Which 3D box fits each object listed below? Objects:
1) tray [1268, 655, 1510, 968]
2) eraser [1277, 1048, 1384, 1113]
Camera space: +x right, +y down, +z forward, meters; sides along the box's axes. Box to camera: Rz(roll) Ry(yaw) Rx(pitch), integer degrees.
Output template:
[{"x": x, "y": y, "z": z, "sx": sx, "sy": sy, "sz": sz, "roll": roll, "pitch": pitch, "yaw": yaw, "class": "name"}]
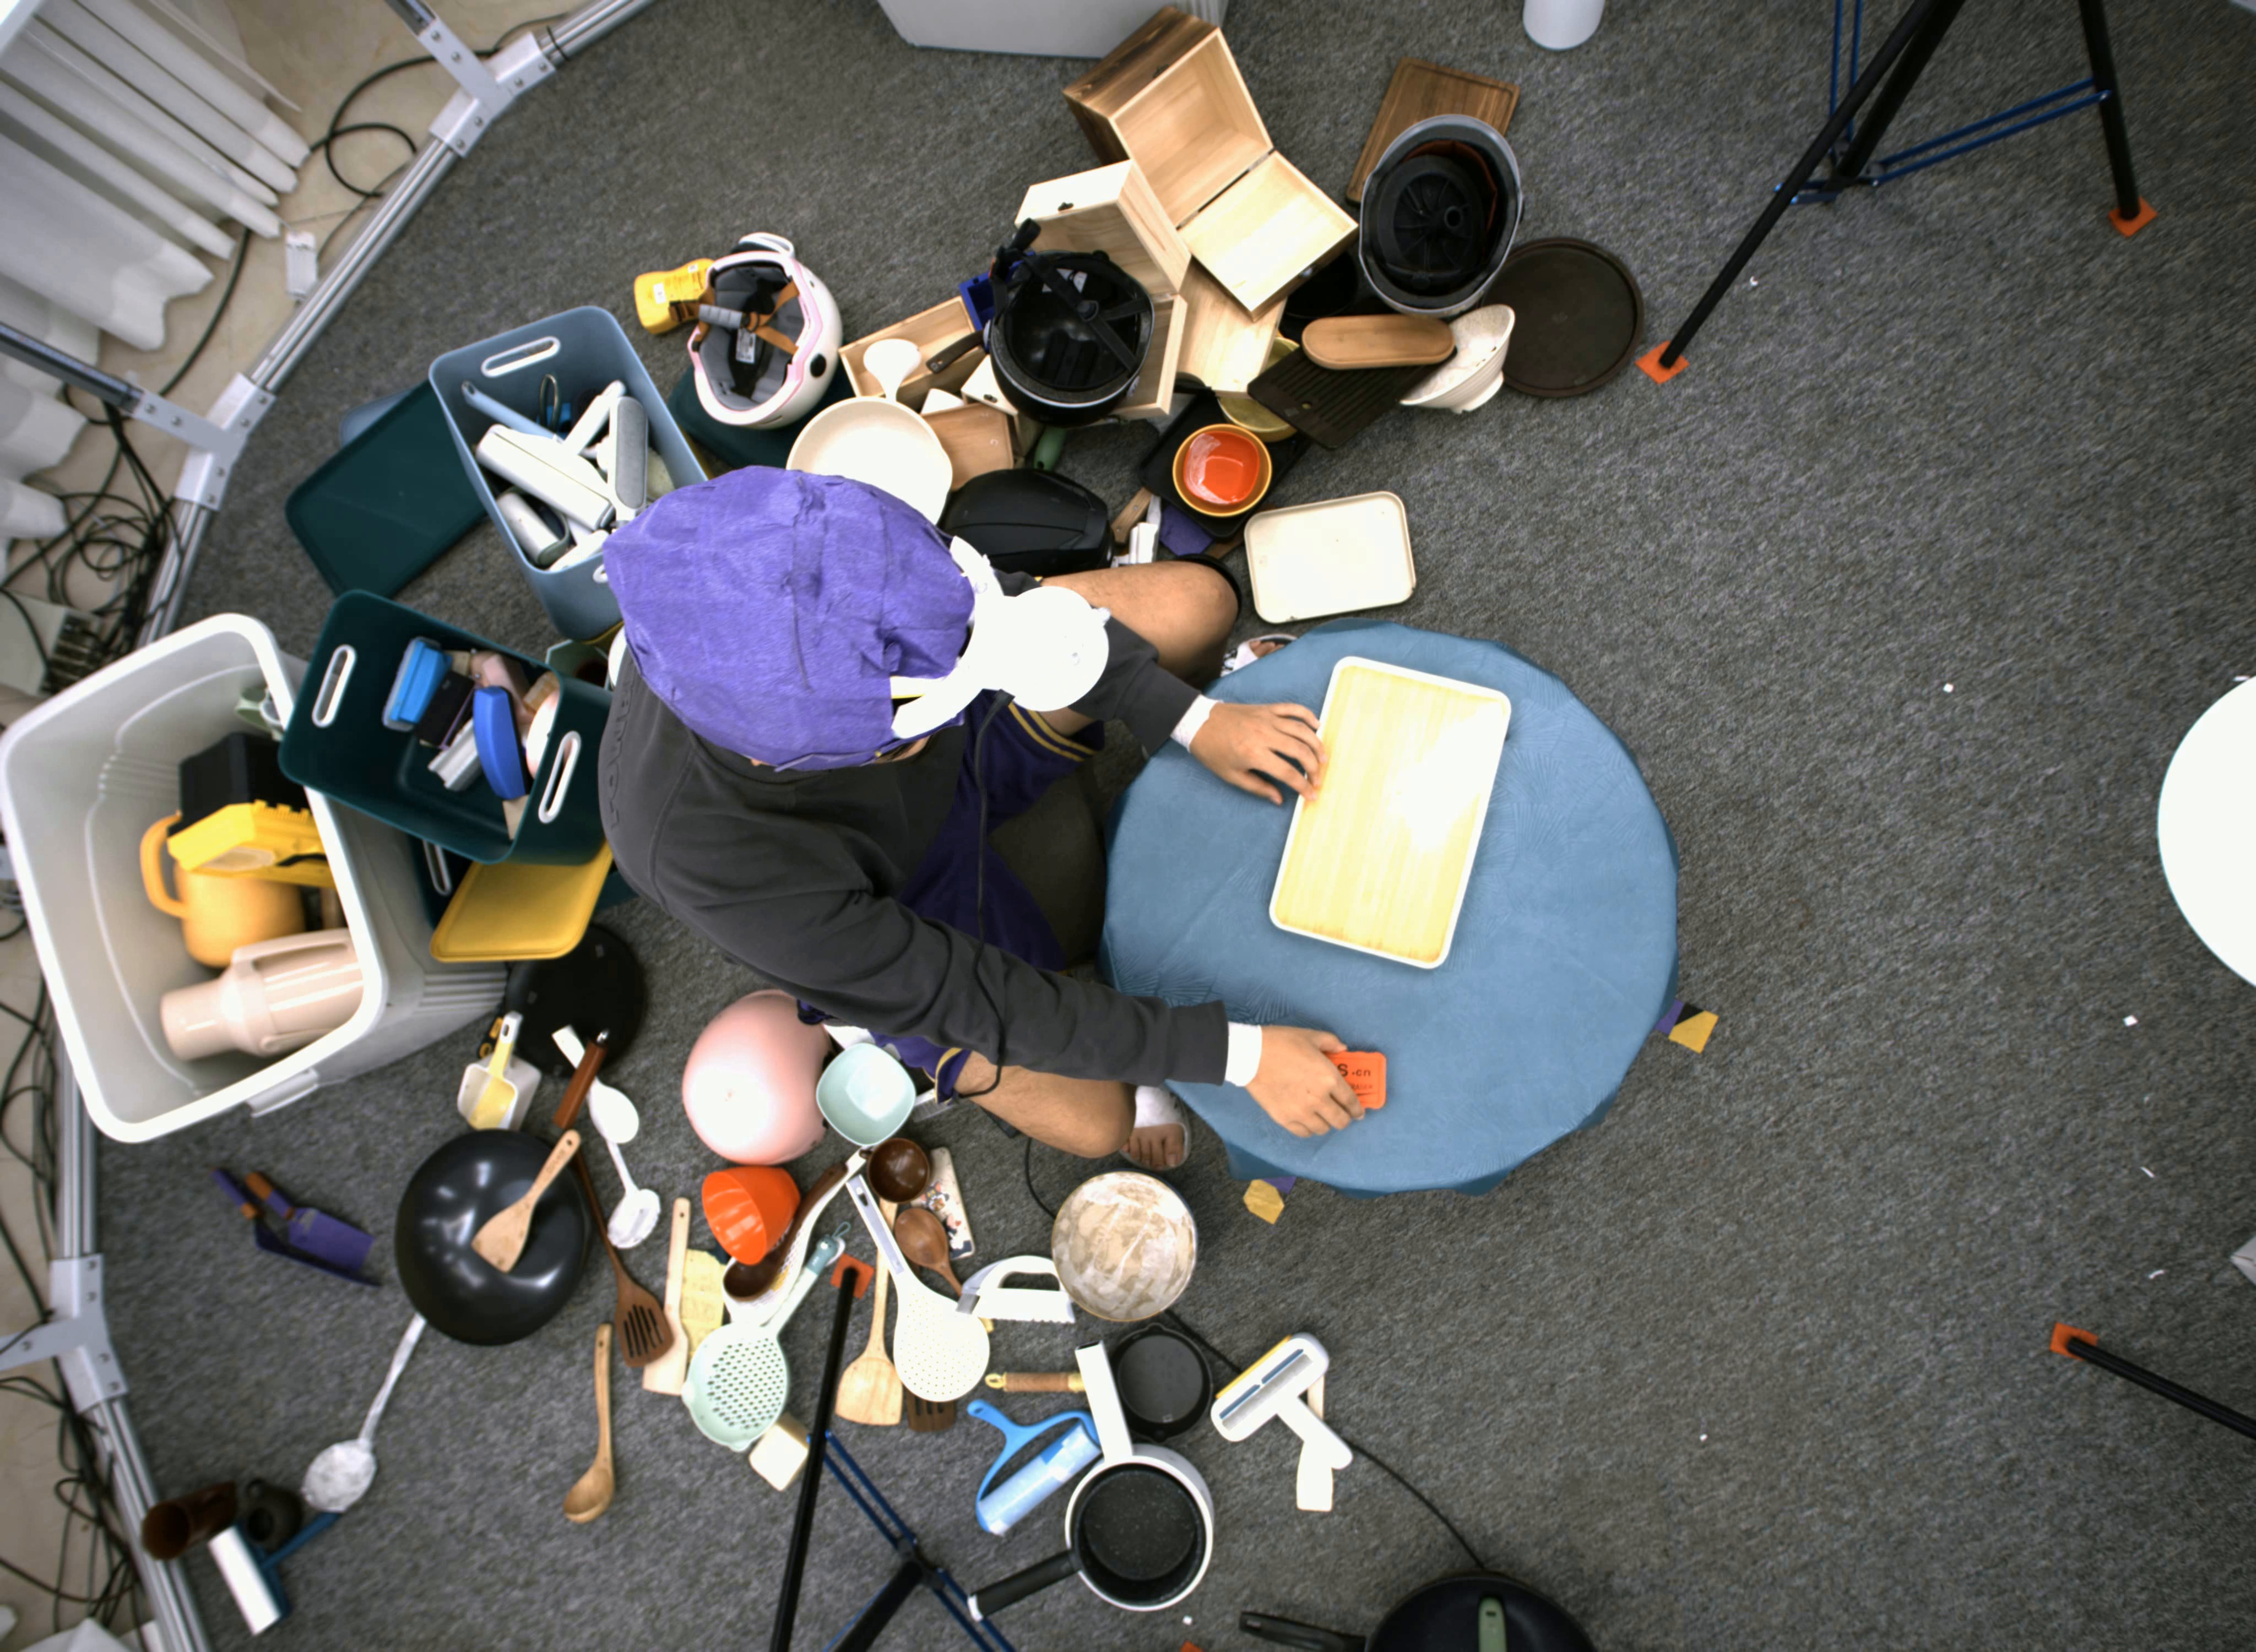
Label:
[{"x": 0.274, "y": -0.018, "z": 1.450, "sx": 0.192, "sy": 0.027, "sz": 0.300, "roll": 15, "pitch": 90, "yaw": 11, "class": "tray"}, {"x": 0.212, "y": 0.264, "z": 1.448, "sx": 0.108, "sy": 0.023, "sz": 0.059, "roll": 4, "pitch": 87, "yaw": 12, "class": "eraser"}]
